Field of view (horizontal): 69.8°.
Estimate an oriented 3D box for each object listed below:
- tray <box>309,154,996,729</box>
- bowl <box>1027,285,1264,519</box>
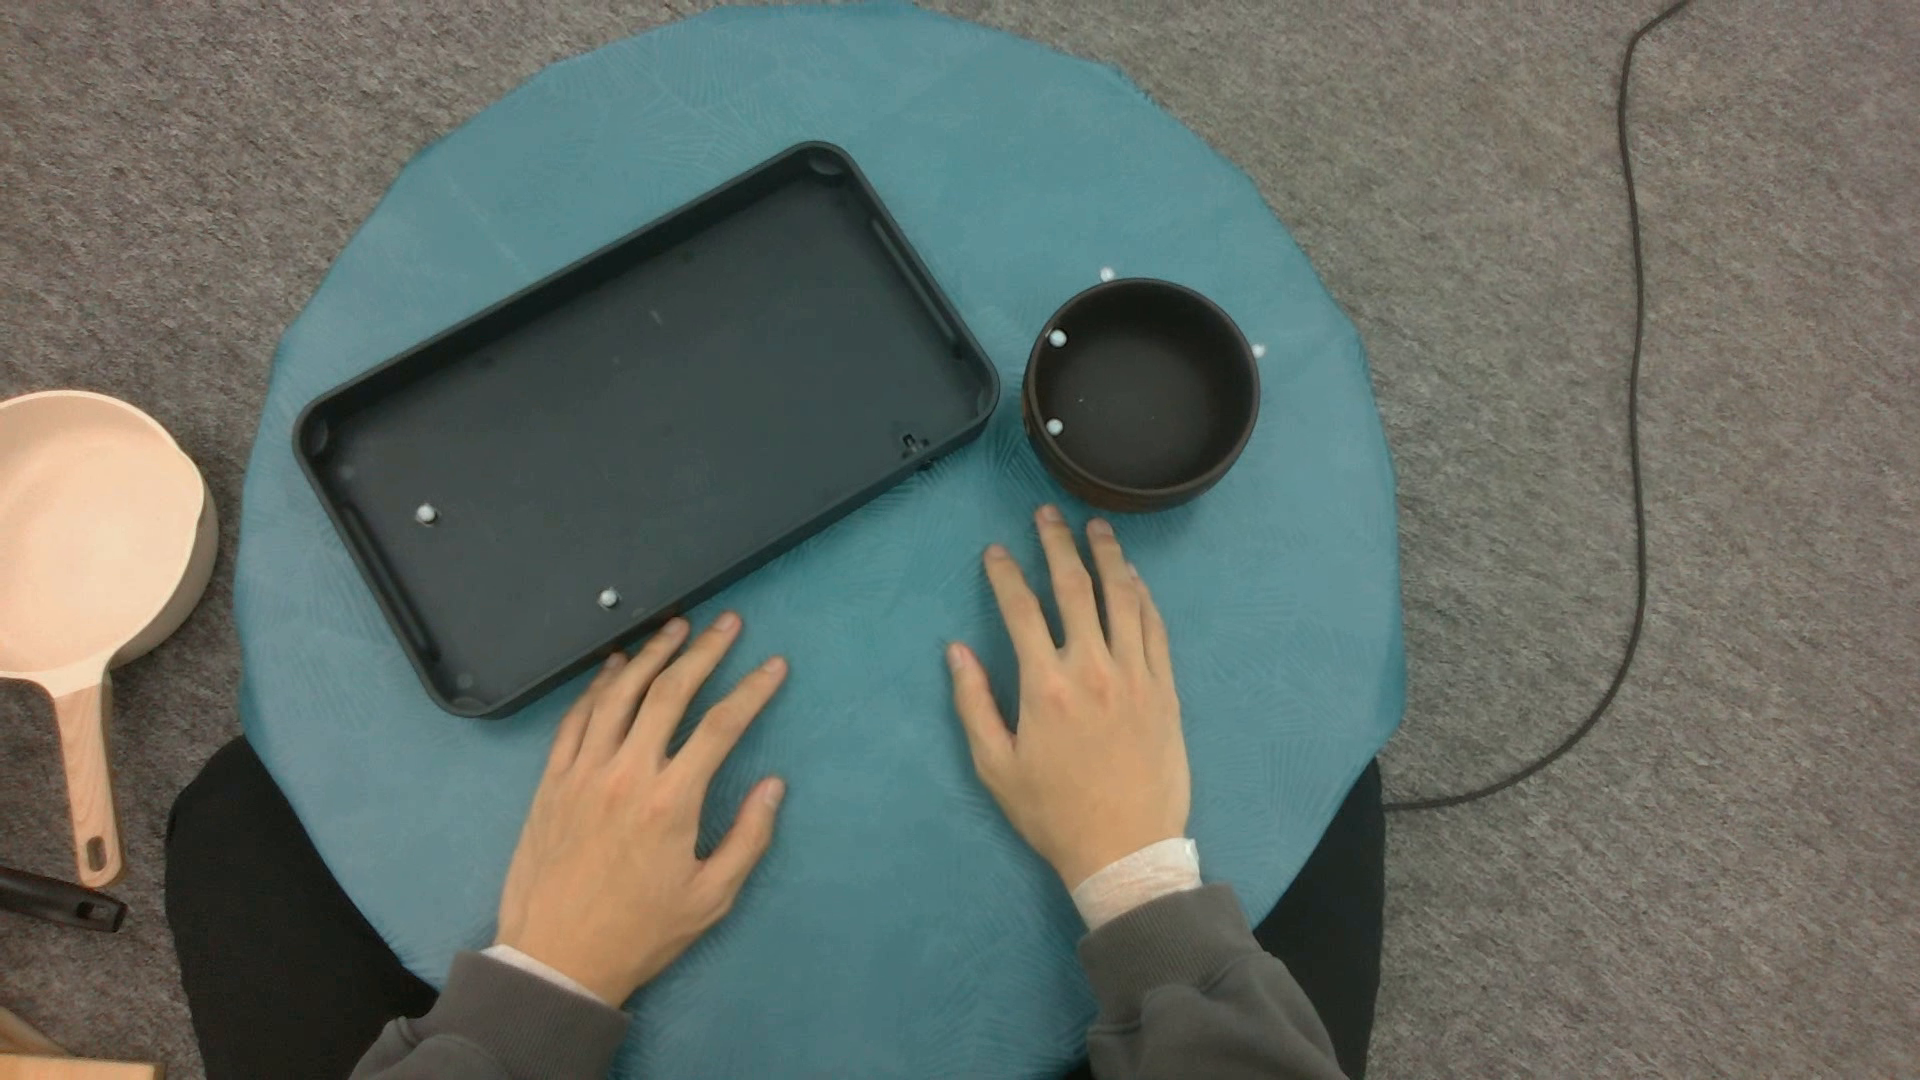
[{"bbox_3d":[-0.154,-0.056,0.721,0.318,0.037,0.184,-33,80,-11],"label":"tray"},{"bbox_3d":[0.093,-0.066,0.716,0.118,0.069,0.118,1,76,-2],"label":"bowl"}]
